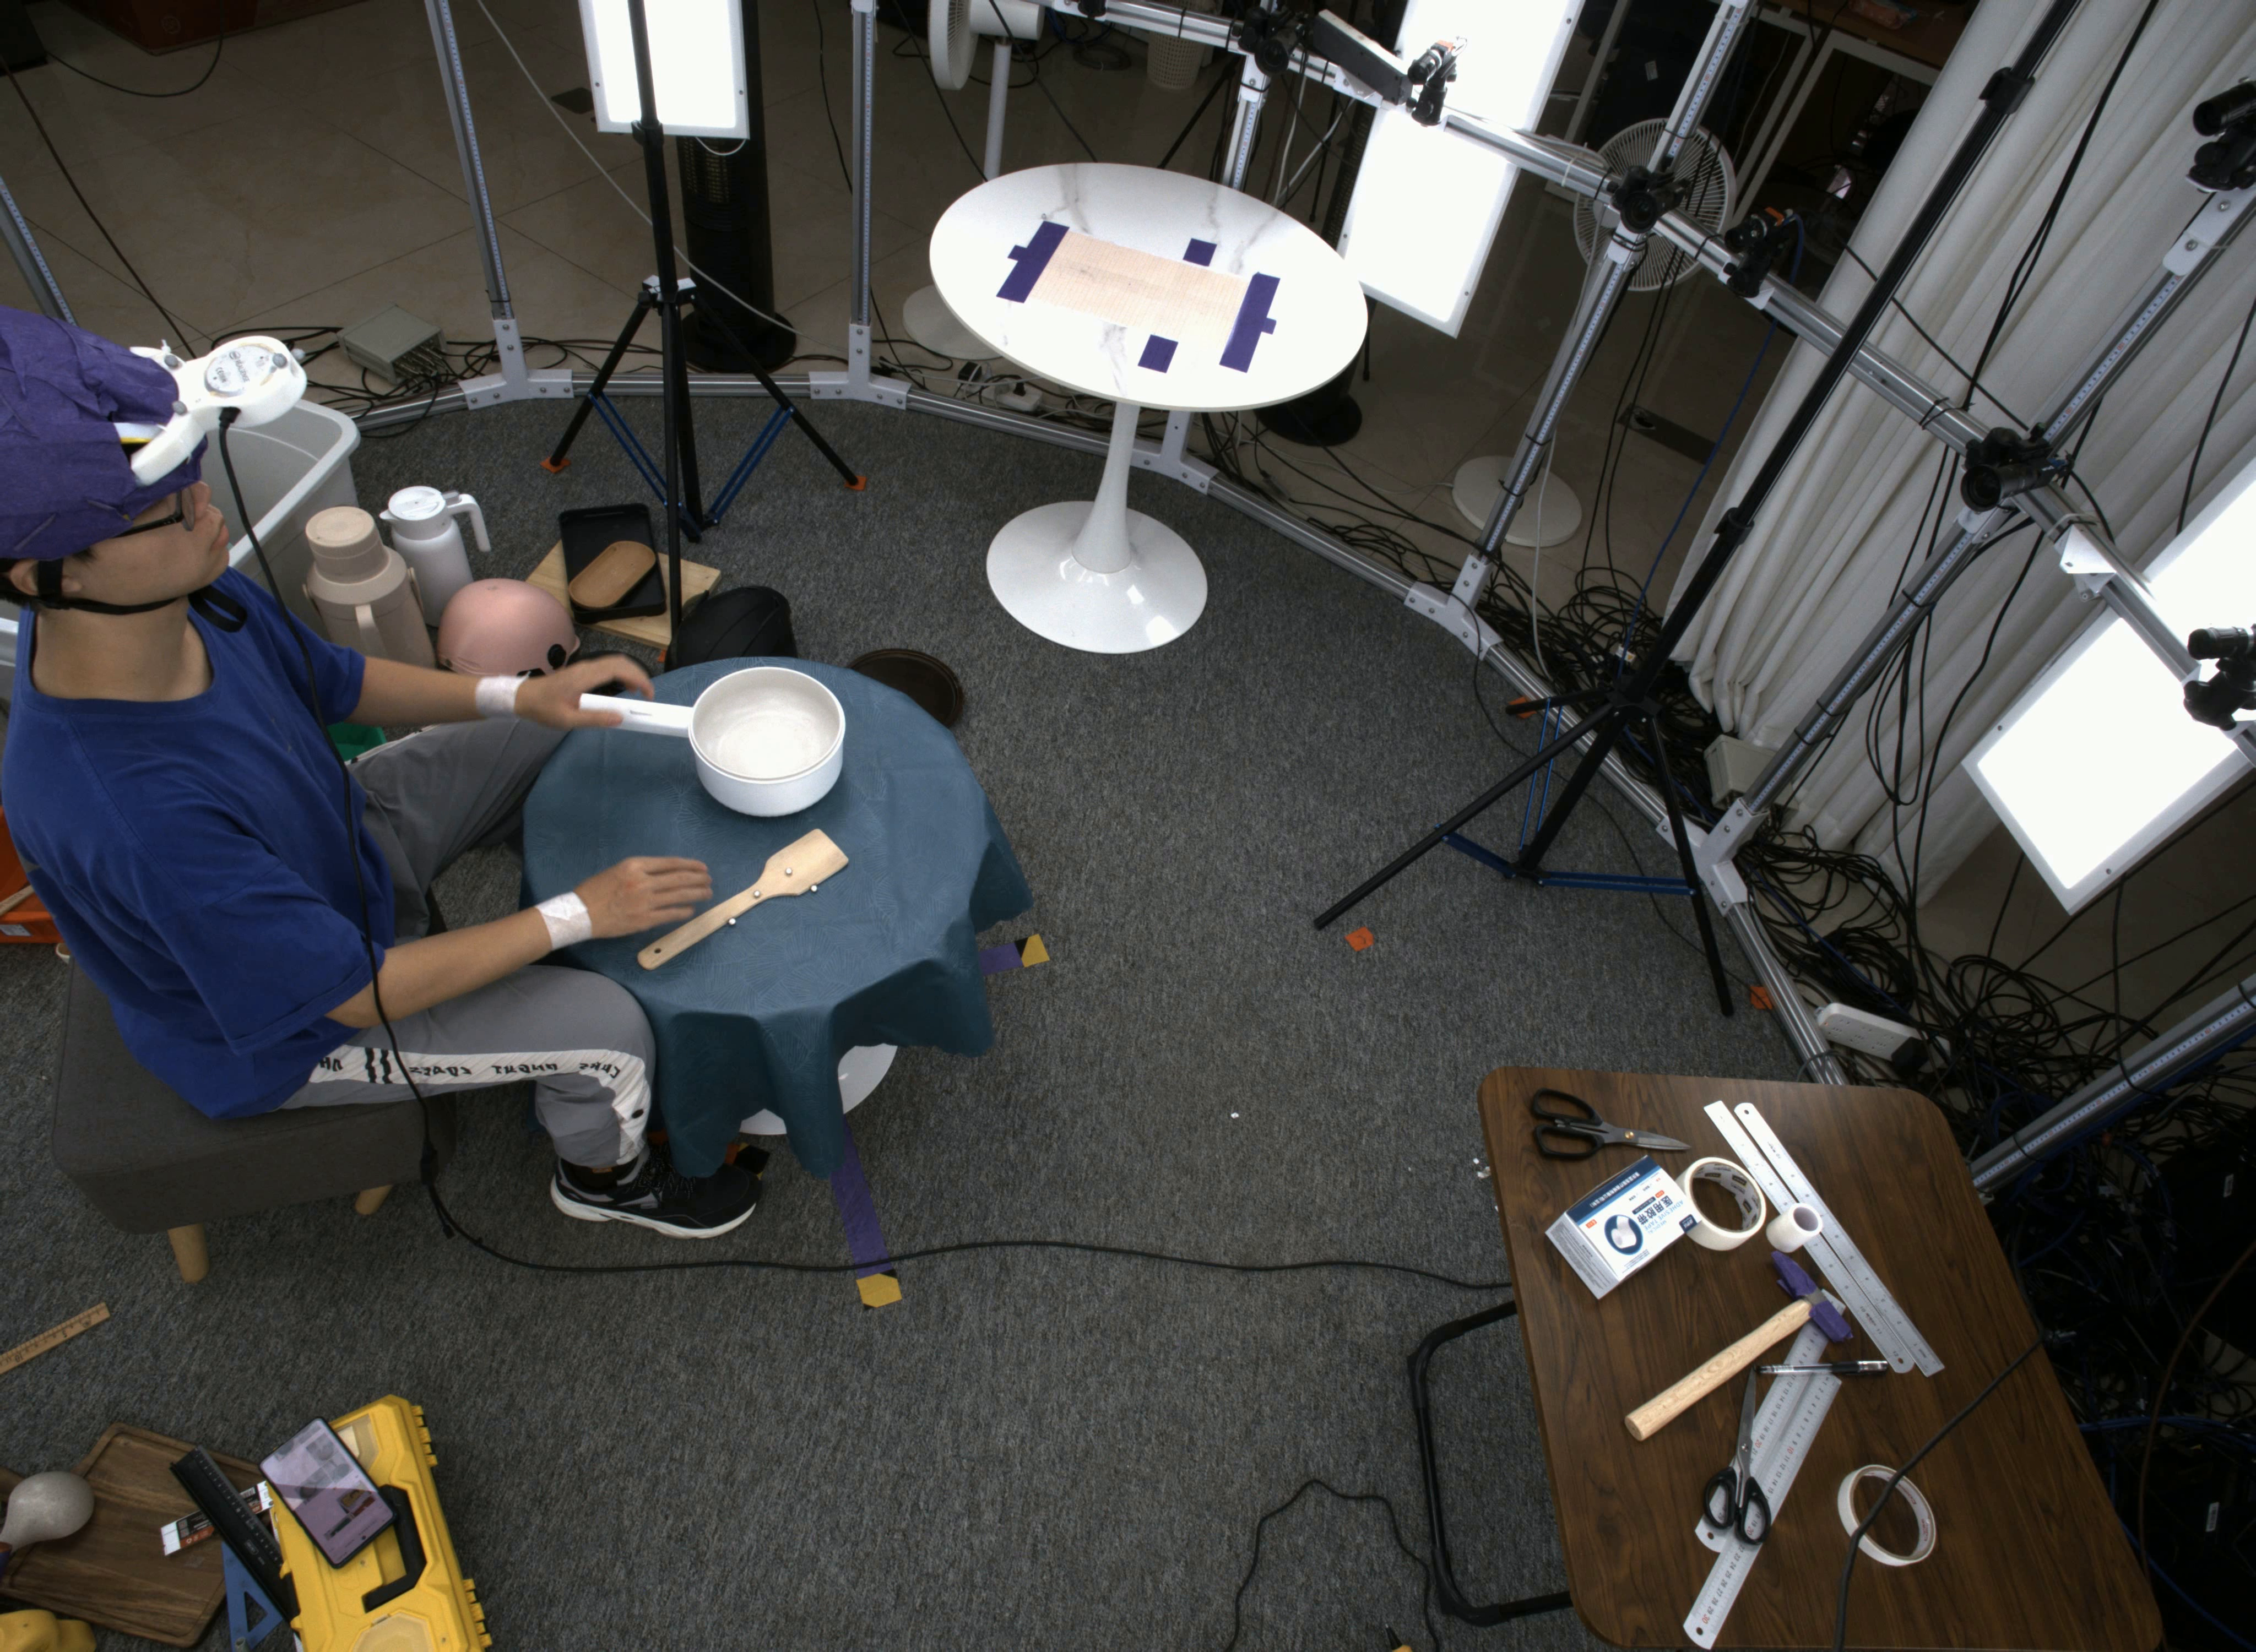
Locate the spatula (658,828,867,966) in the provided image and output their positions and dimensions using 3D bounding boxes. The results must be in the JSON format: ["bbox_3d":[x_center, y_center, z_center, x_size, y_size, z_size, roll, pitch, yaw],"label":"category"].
[{"bbox_3d":[-0.466,0.093,1.646,0.294,0.011,0.071,-34,70,-32],"label":"spatula"}]

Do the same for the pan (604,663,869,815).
[{"bbox_3d":[-0.527,-0.122,1.736,0.354,0.104,0.198,8,54,-9],"label":"pan"}]
